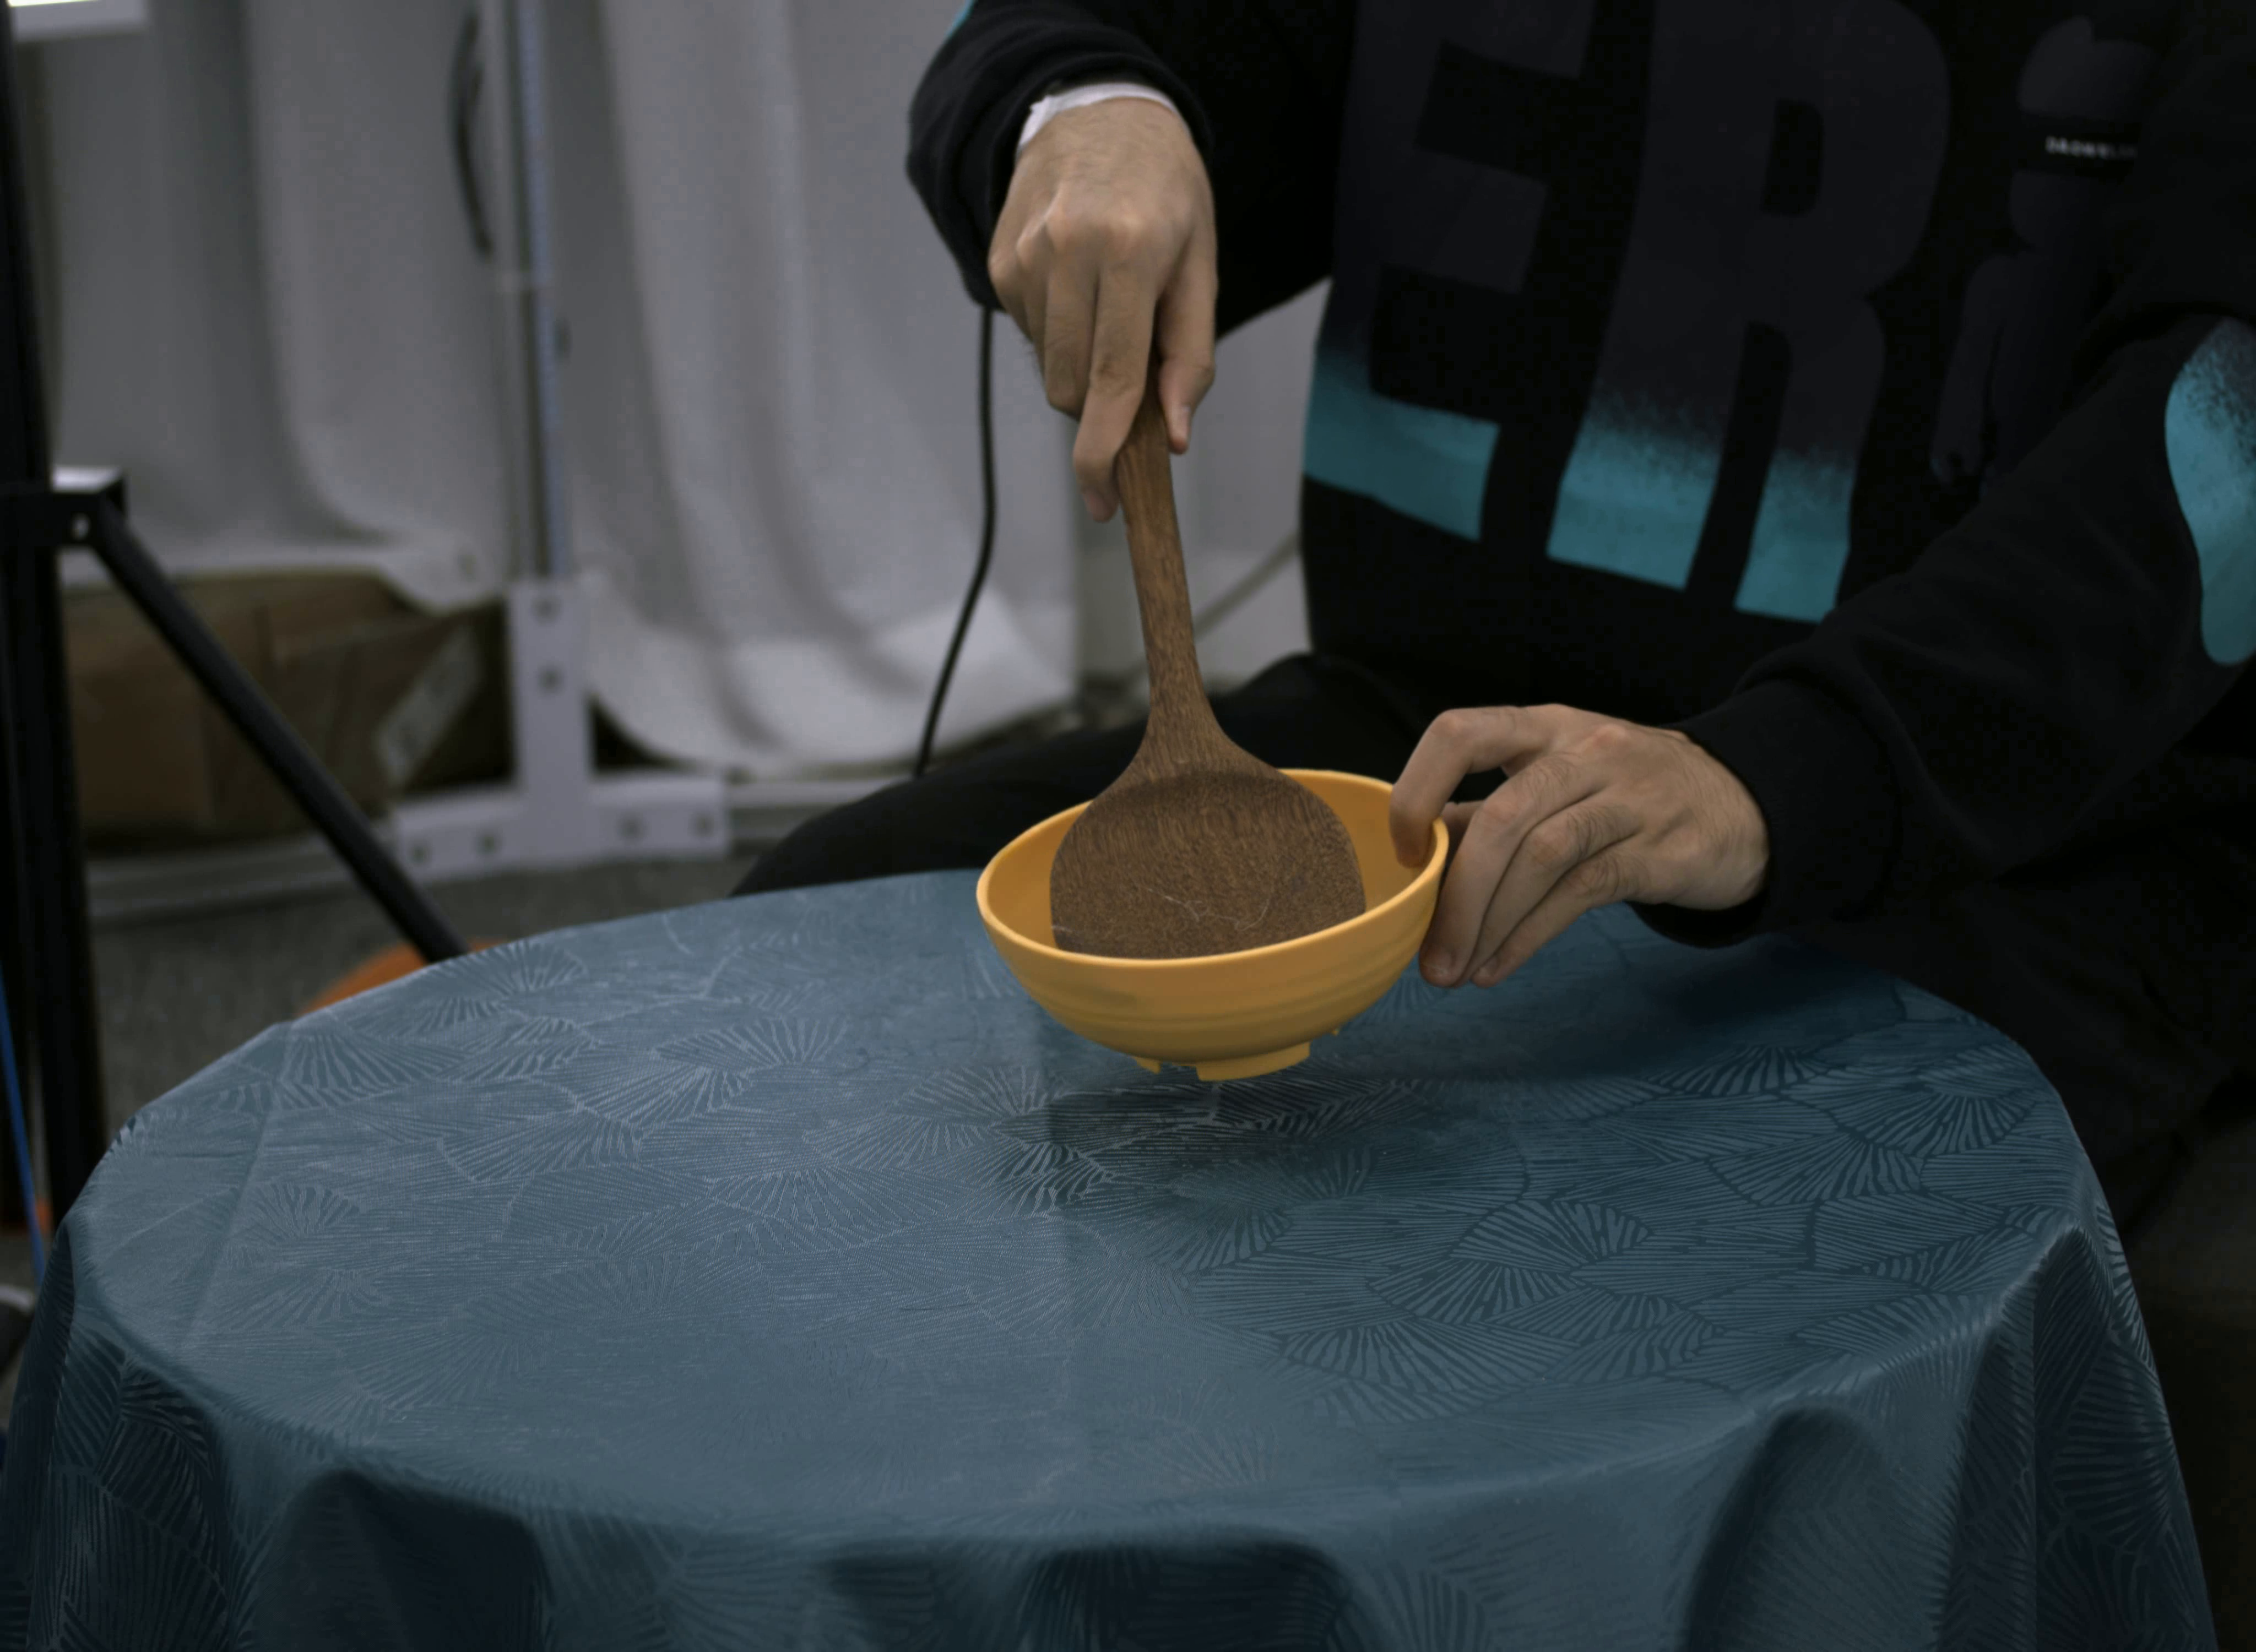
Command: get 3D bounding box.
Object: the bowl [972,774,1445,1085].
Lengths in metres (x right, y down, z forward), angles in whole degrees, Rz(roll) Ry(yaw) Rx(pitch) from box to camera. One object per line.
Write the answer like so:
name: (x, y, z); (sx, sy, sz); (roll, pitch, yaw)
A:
bowl: (0.027, 0.039, 1.623); (0.145, 0.060, 0.146); (-5, 22, 1)

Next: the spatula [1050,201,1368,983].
spatula: (0.009, -0.086, 1.703); (0.096, 0.015, 0.391); (-9, 43, 1)
